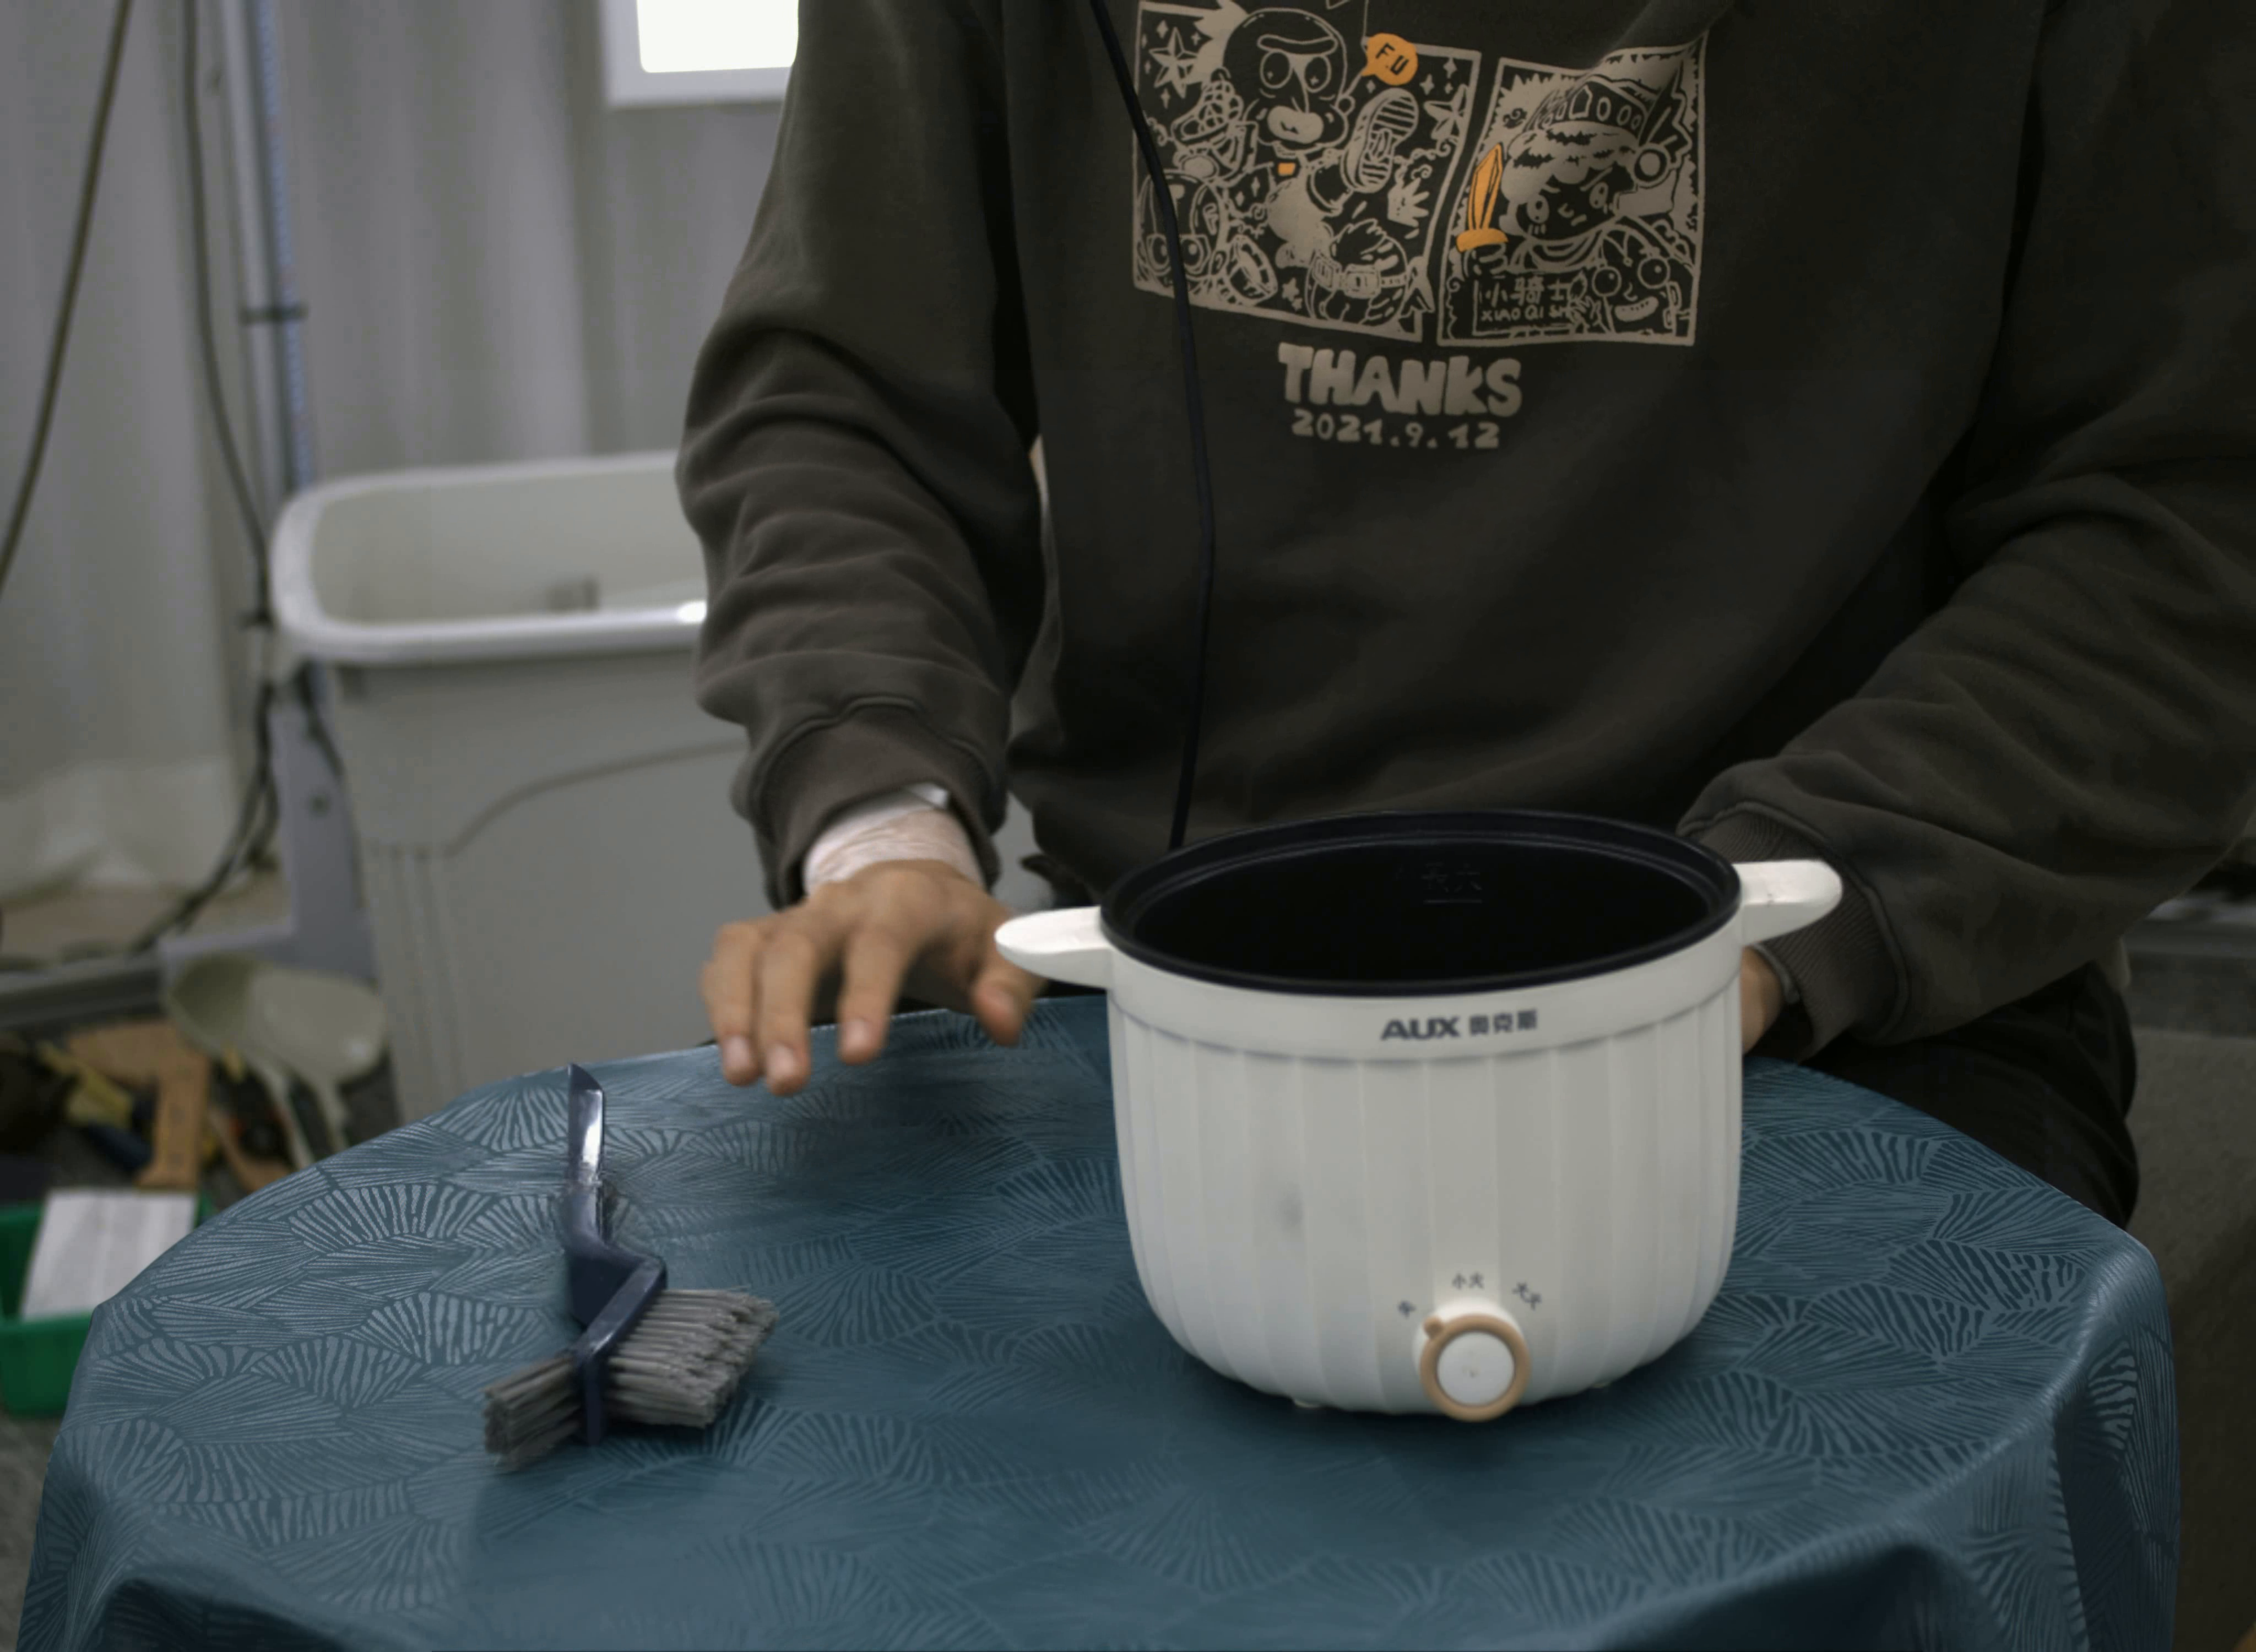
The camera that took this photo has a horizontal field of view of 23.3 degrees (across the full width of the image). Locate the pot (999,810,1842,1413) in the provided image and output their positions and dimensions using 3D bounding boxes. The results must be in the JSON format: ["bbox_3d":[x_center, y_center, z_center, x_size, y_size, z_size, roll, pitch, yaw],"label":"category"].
[{"bbox_3d":[0.088,0.084,1.553,0.239,0.142,0.191,-5,11,-3],"label":"pot"}]

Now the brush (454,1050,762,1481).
[{"bbox_3d":[-0.169,0.128,1.647,0.095,0.033,0.275,-7,17,-11],"label":"brush"}]
